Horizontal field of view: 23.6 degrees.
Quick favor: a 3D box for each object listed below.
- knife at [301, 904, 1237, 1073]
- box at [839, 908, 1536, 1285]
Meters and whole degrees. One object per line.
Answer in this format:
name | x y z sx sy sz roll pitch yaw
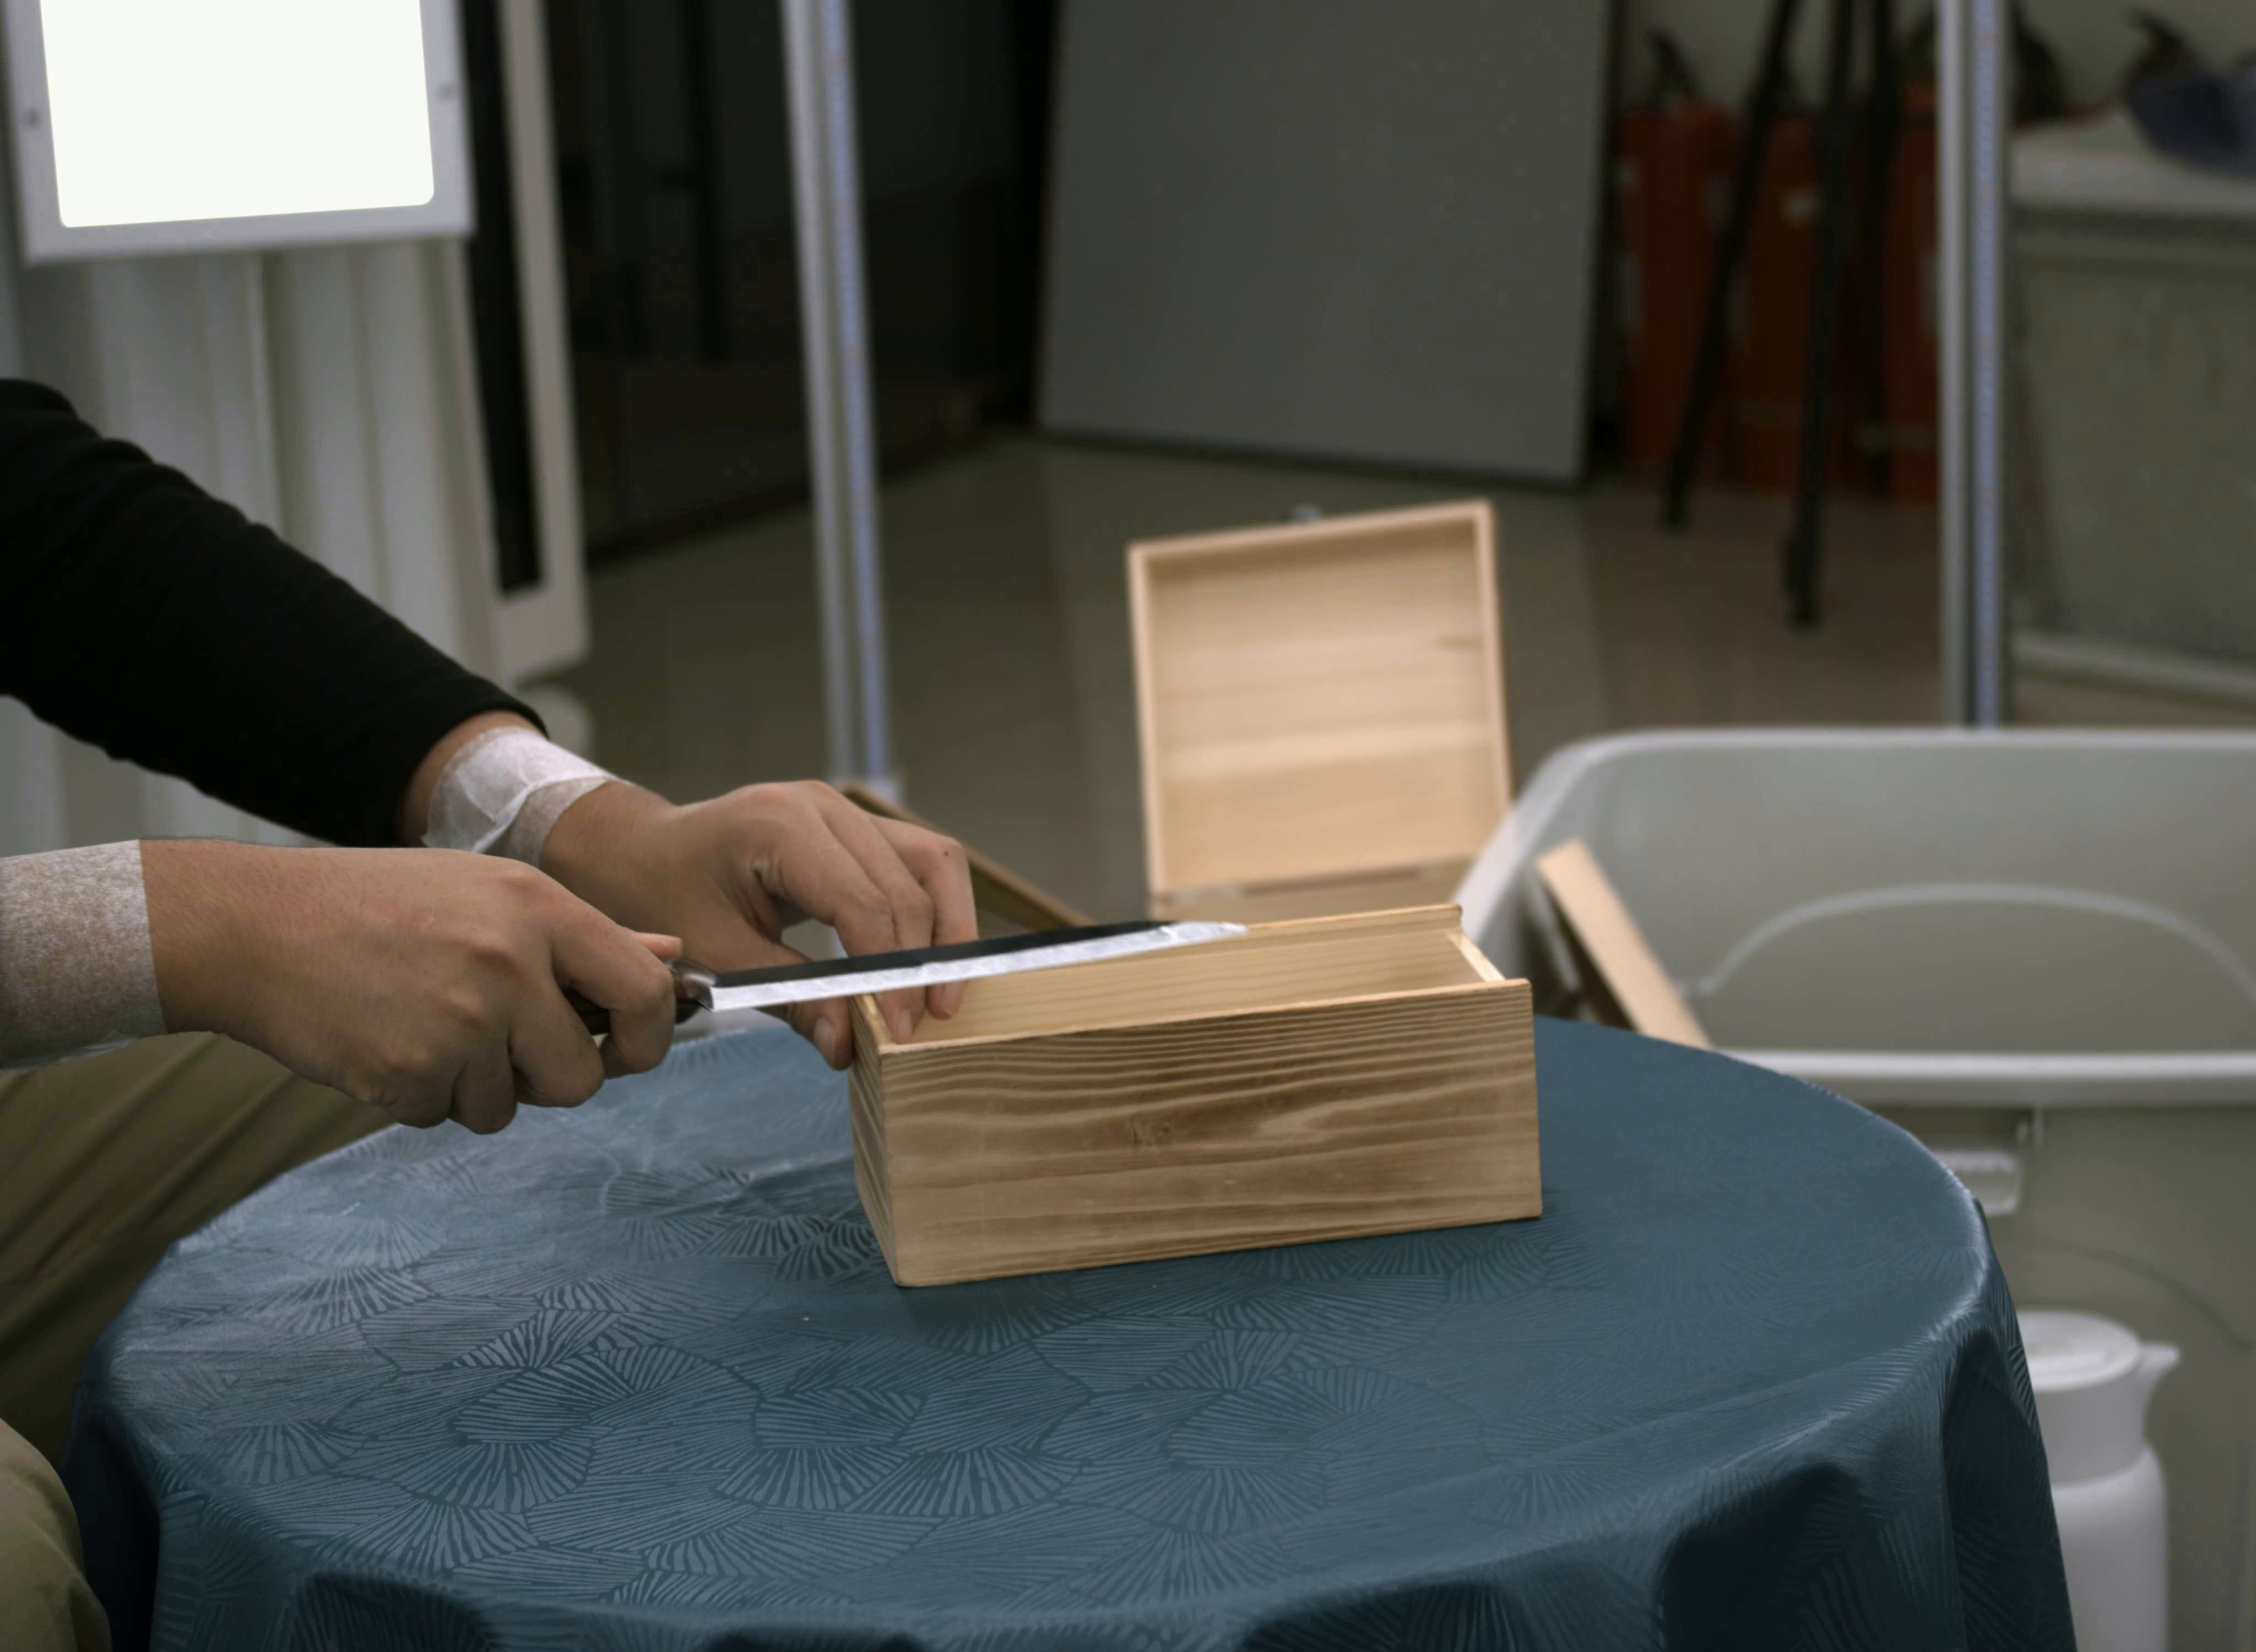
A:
knife | -0.108 0.046 1.639 0.285 0.020 0.050 -8 13 -3
box | 0.018 0.085 1.741 0.208 0.081 0.108 -5 13 -8
